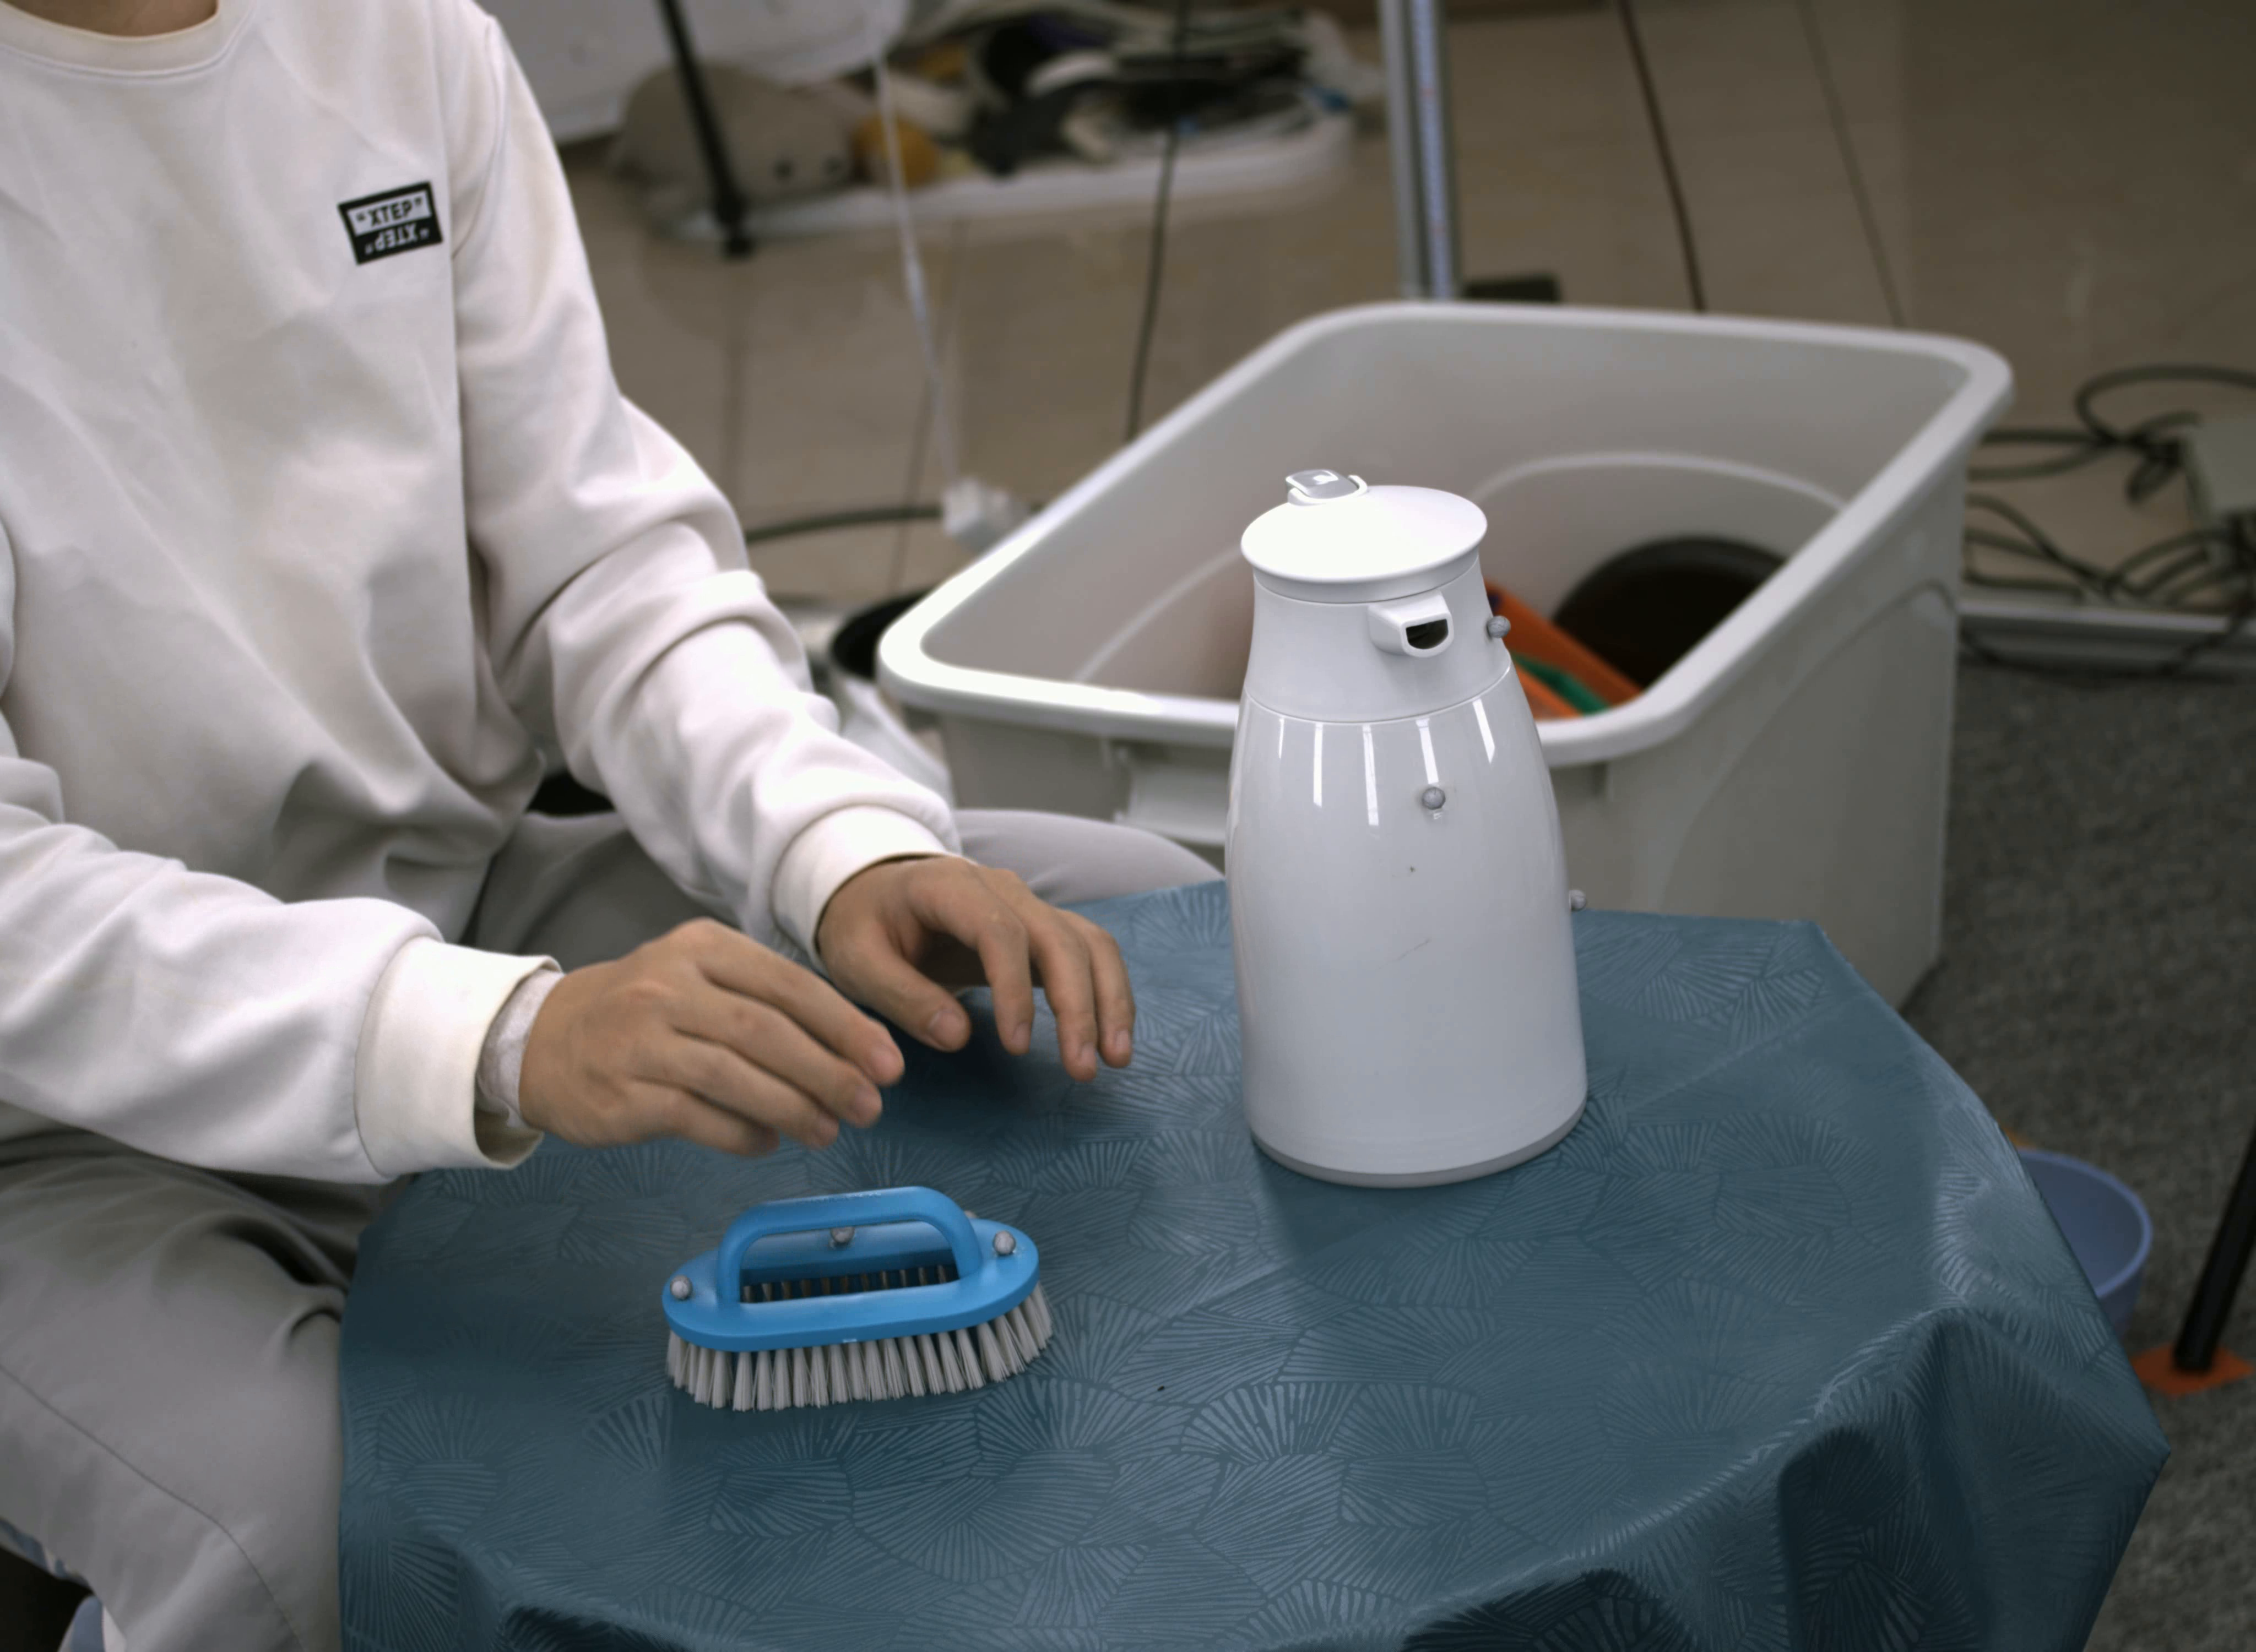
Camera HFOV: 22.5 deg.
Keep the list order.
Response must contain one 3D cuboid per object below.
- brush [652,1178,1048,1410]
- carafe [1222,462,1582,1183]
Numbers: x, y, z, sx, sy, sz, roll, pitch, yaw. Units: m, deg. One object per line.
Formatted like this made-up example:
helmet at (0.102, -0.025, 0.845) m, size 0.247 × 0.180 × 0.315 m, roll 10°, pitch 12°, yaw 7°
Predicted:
brush at (-0.102, 0.160, 2.045) m, size 0.141 × 0.065 × 0.083 m, roll -6°, pitch 29°, yaw 3°
carafe at (0.090, -0.011, 2.146) m, size 0.132 × 0.252 × 0.165 m, roll -14°, pitch 26°, yaw -15°
